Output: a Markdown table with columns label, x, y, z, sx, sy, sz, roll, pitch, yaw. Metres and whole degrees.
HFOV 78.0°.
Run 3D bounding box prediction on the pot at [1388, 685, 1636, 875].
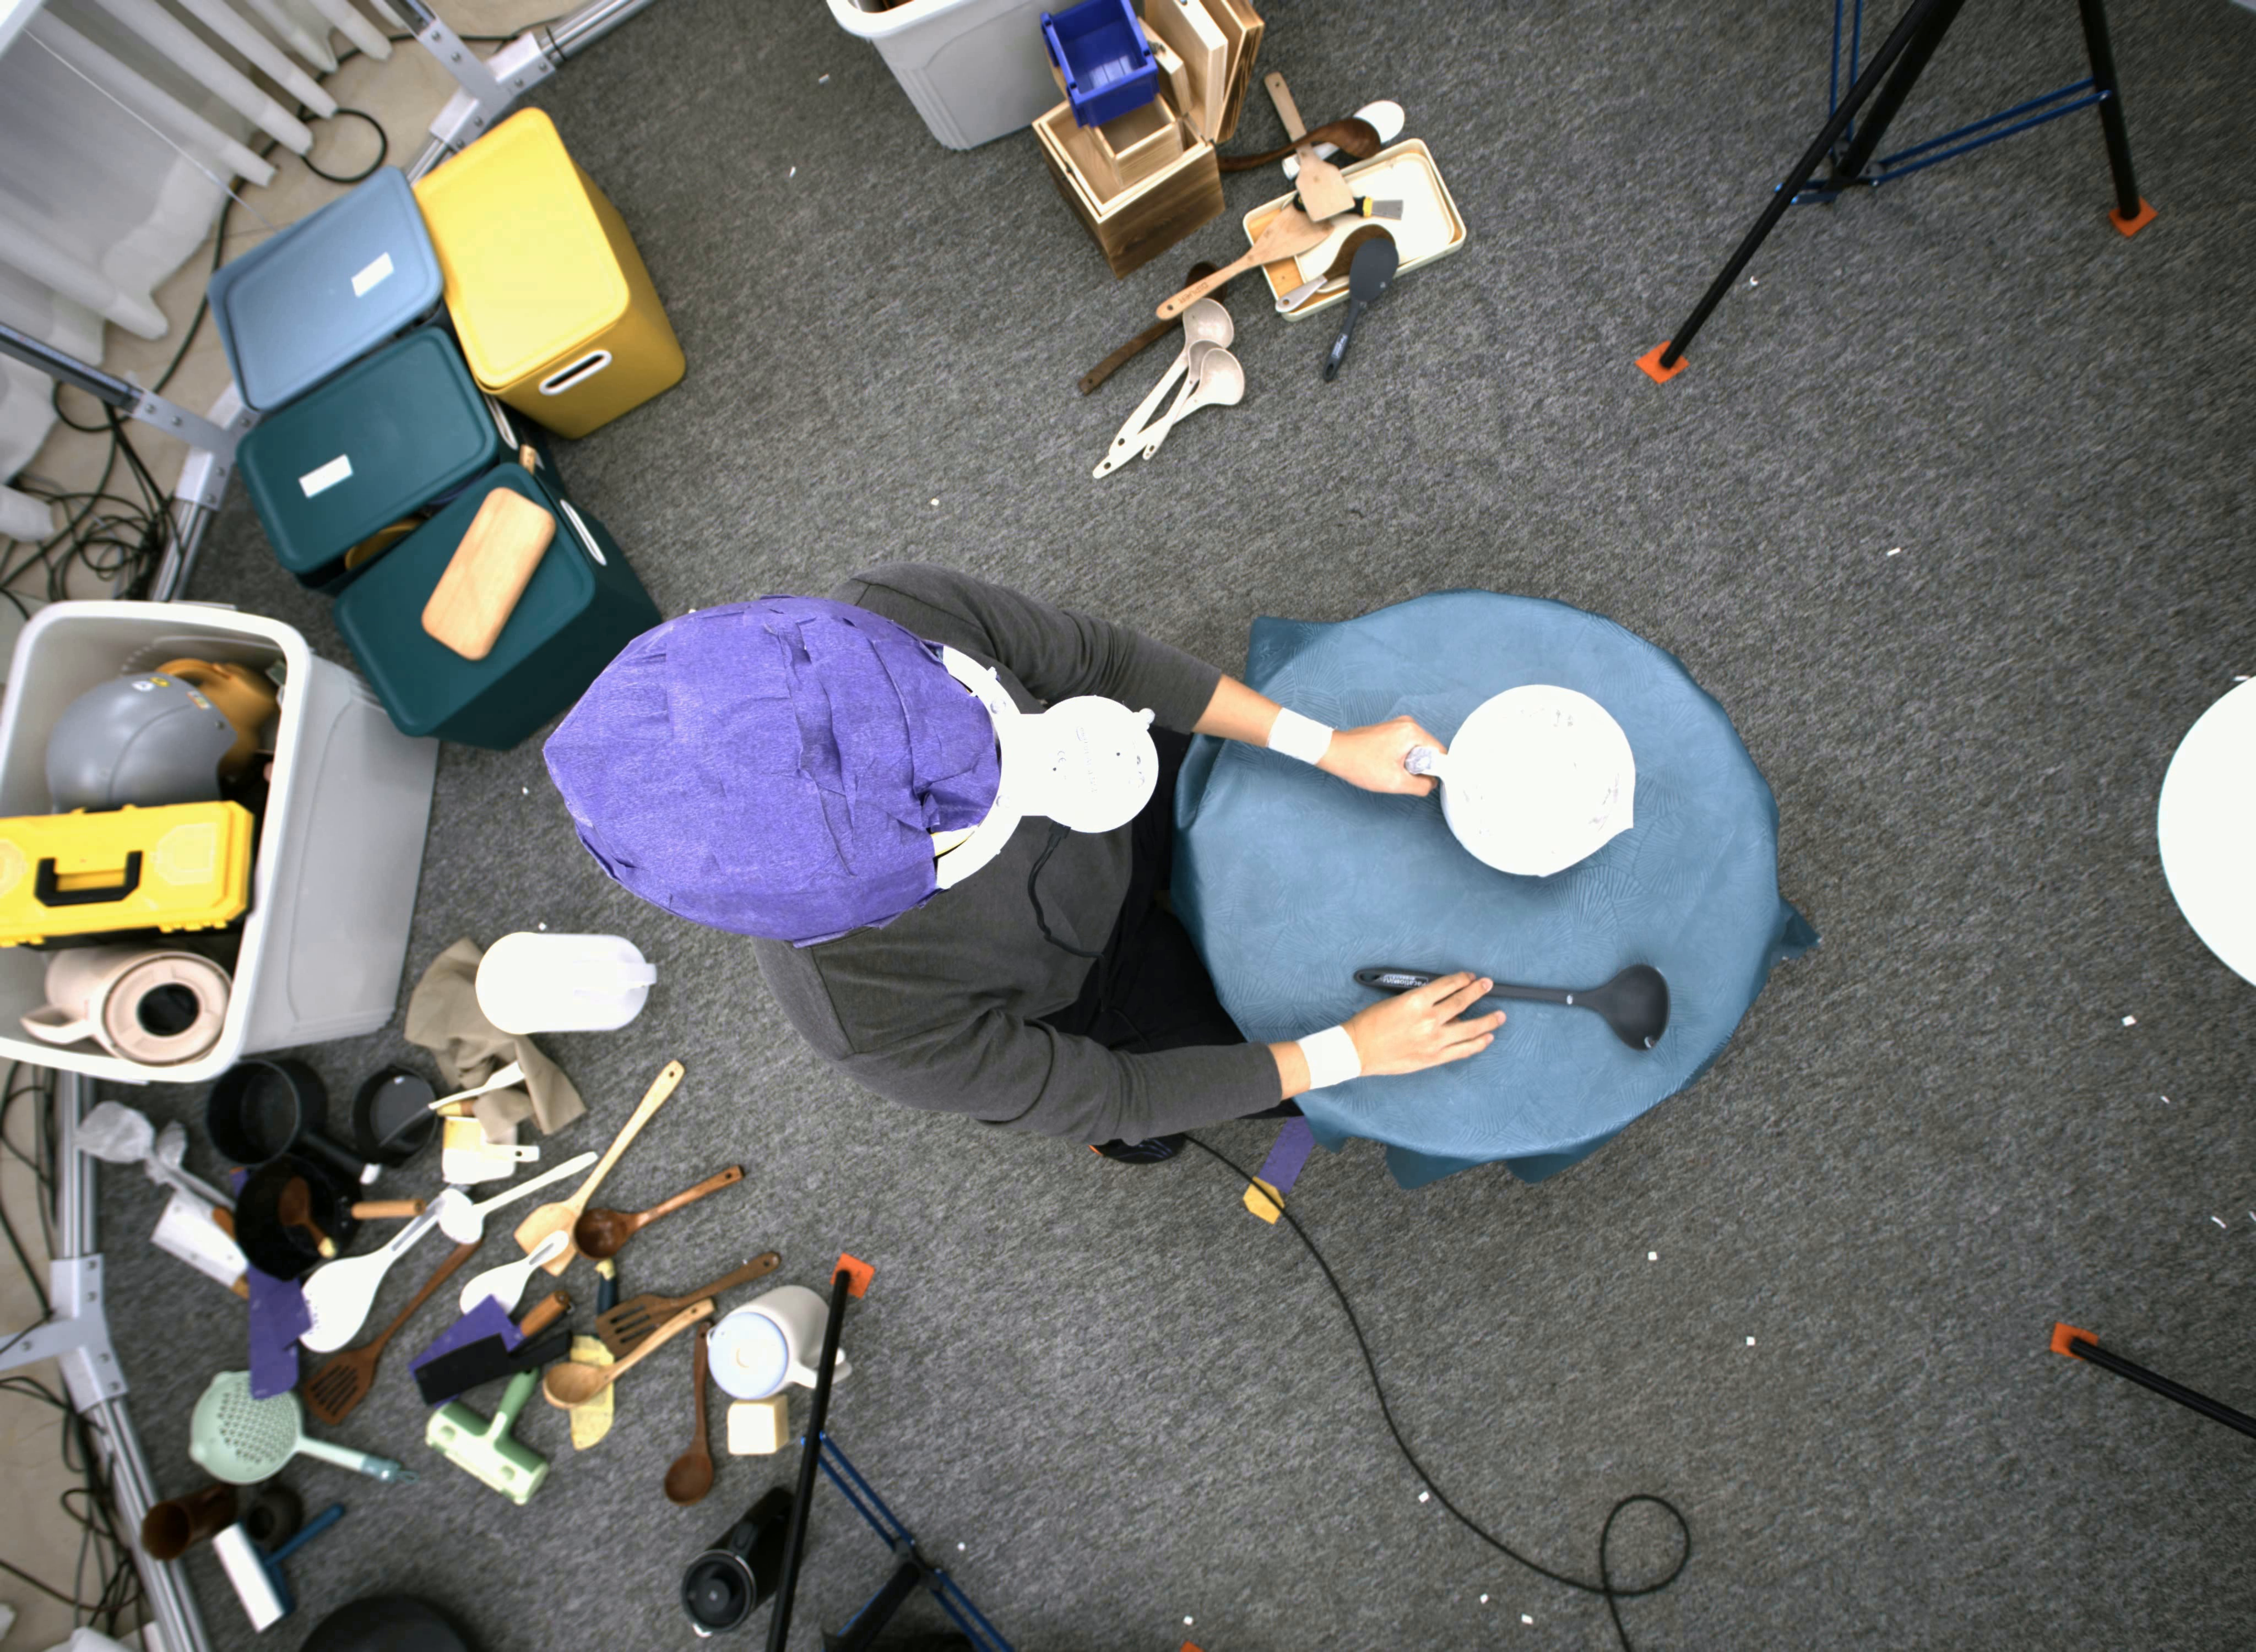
| label | x | y | z | sx | sy | sz | roll | pitch | yaw |
| --- | --- | --- | --- | --- | --- | --- | --- | --- | --- |
| pot | 0.378 | -0.048 | 1.377 | 0.234 | 0.137 | 0.178 | 9 | 87 | 11 |

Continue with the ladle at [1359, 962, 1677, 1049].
| label | x | y | z | sx | sy | sz | roll | pitch | yaw |
| --- | --- | --- | --- | --- | --- | --- | --- | --- | --- |
| ladle | 0.393 | 0.166 | 1.400 | 0.315 | 0.064 | 0.085 | 5 | 84 | 11 |
